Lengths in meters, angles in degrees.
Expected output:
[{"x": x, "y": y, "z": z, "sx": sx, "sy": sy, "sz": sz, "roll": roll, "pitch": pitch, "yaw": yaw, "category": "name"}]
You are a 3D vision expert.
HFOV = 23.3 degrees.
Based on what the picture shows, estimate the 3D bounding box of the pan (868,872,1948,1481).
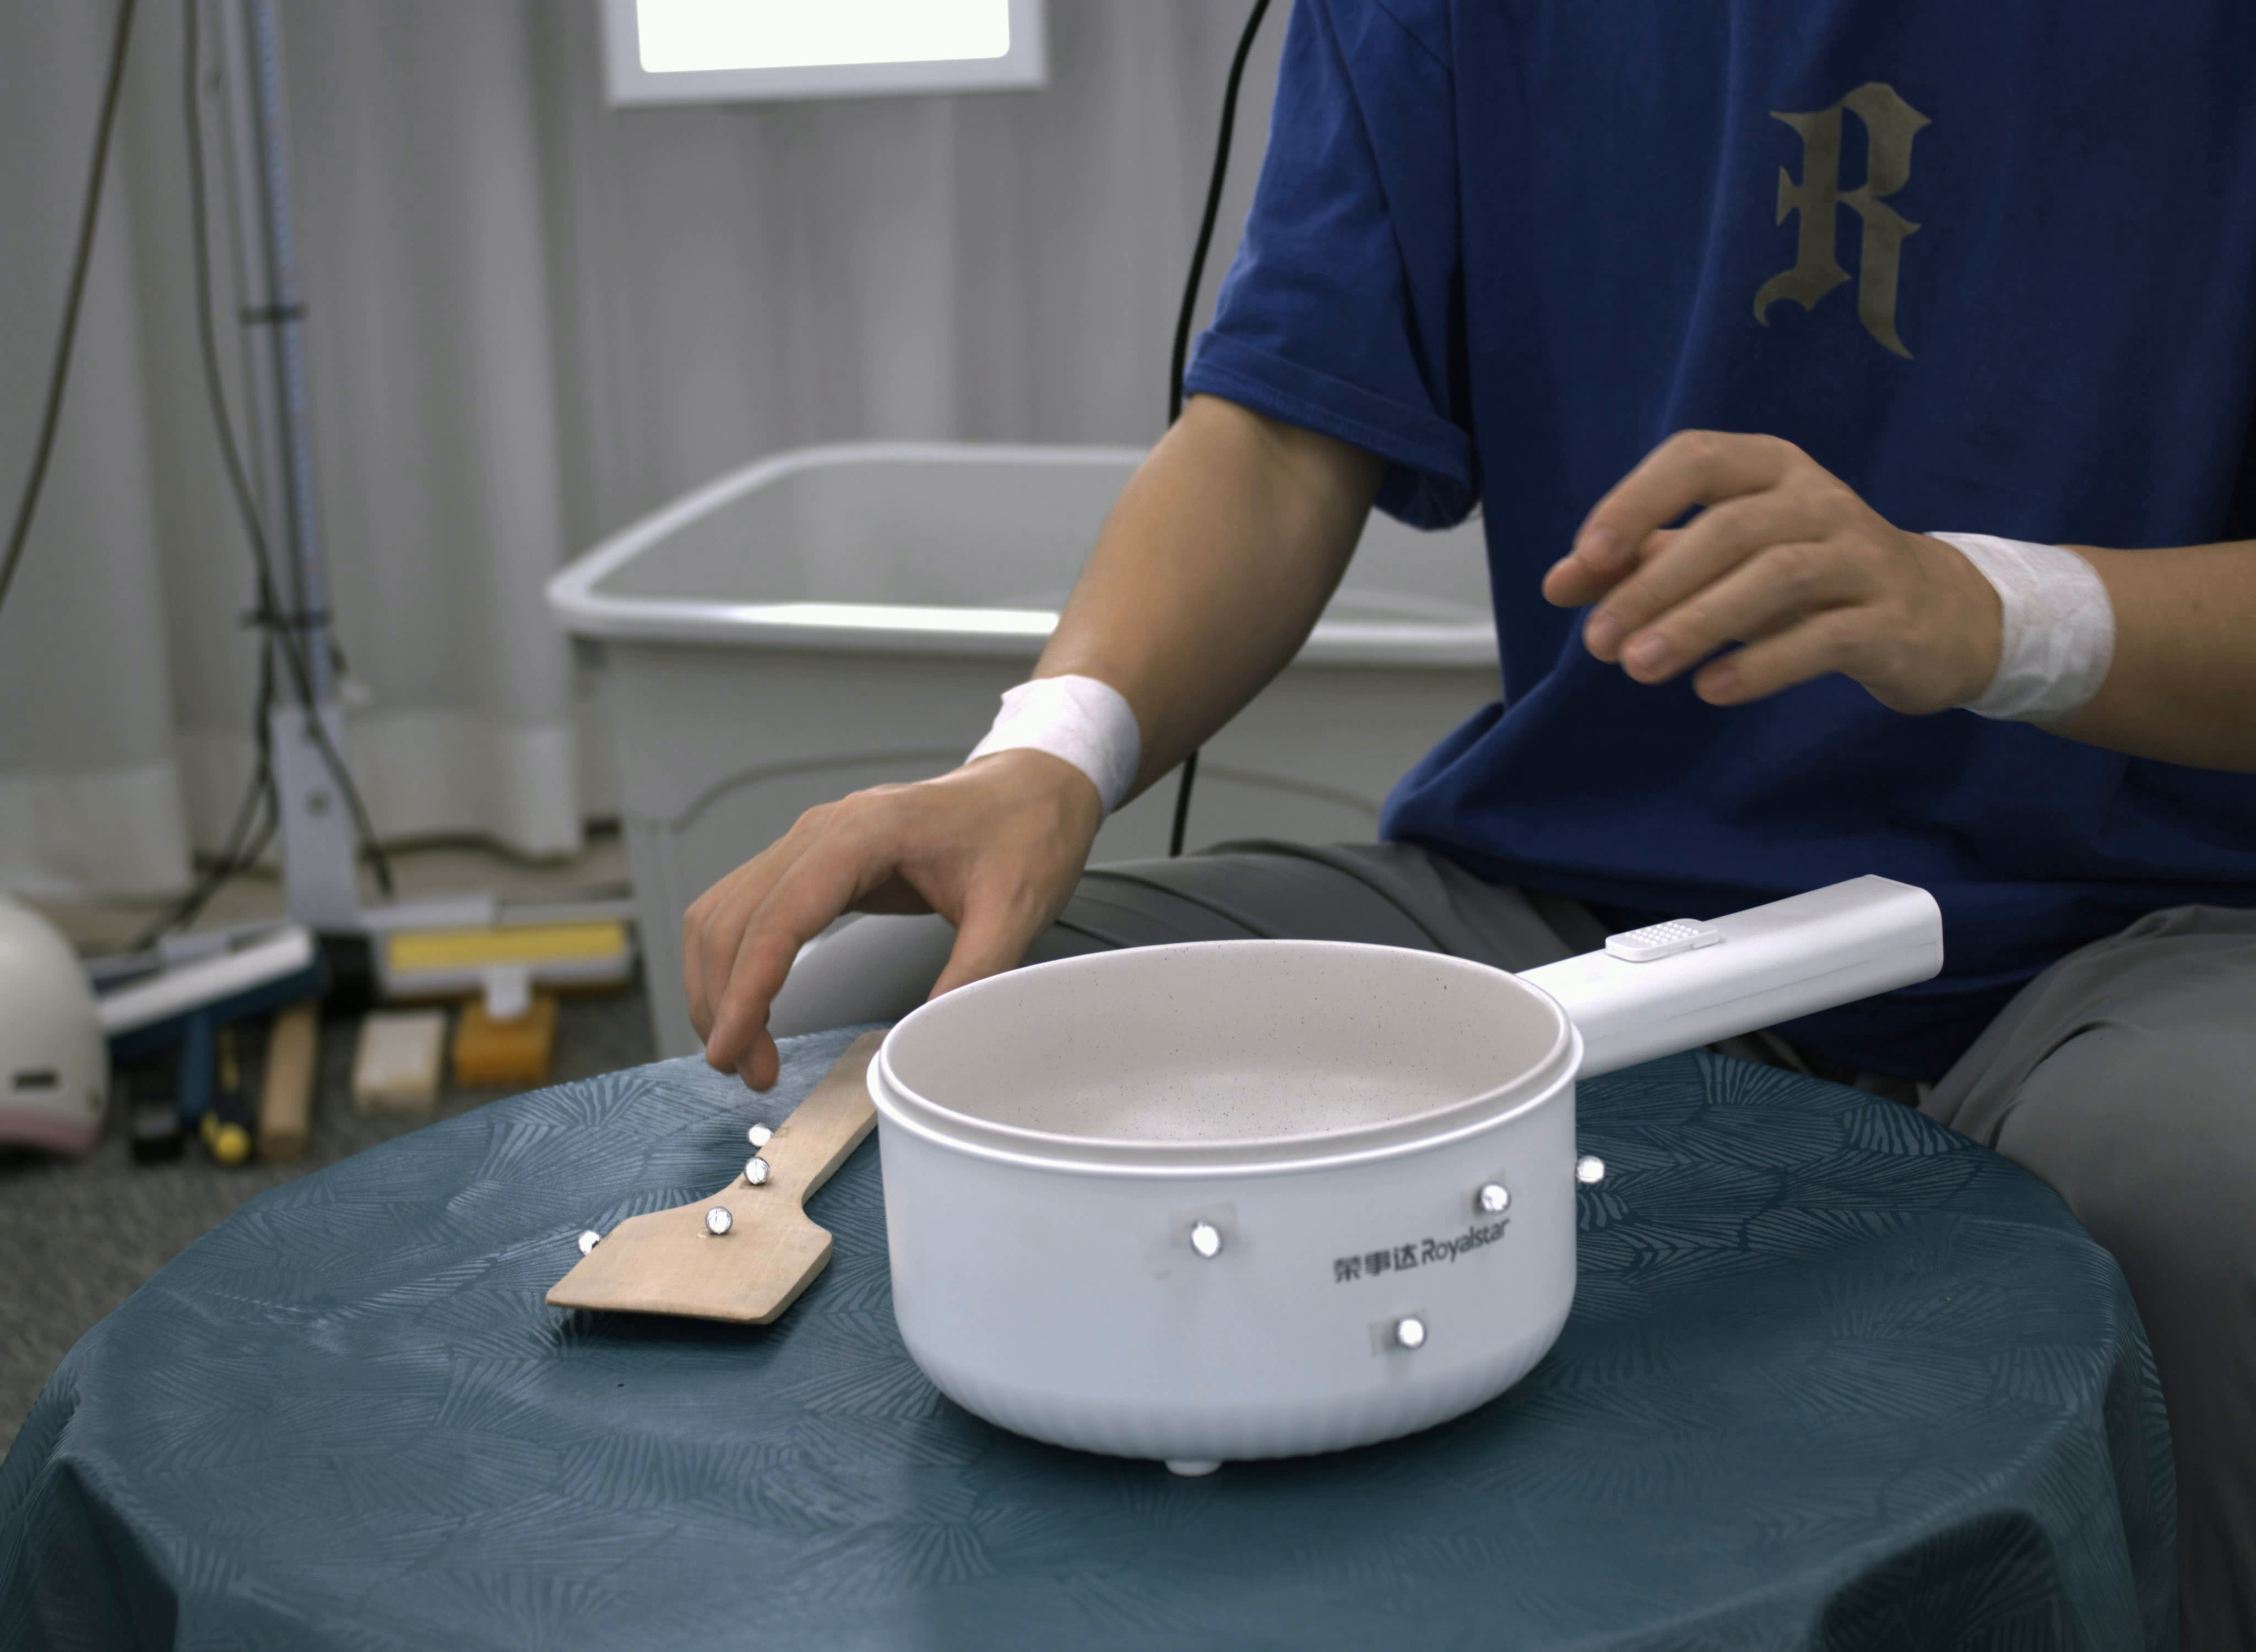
[{"x": 0.093, "y": 0.095, "z": 1.580, "sx": 0.353, "sy": 0.102, "sz": 0.202, "roll": -13, "pitch": 16, "yaw": -33, "category": "pan"}]

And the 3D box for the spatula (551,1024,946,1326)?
[{"x": -0.107, "y": 0.108, "z": 1.736, "sx": 0.072, "sy": 0.010, "sz": 0.294, "roll": 3, "pitch": 15, "yaw": 12, "category": "spatula"}]
